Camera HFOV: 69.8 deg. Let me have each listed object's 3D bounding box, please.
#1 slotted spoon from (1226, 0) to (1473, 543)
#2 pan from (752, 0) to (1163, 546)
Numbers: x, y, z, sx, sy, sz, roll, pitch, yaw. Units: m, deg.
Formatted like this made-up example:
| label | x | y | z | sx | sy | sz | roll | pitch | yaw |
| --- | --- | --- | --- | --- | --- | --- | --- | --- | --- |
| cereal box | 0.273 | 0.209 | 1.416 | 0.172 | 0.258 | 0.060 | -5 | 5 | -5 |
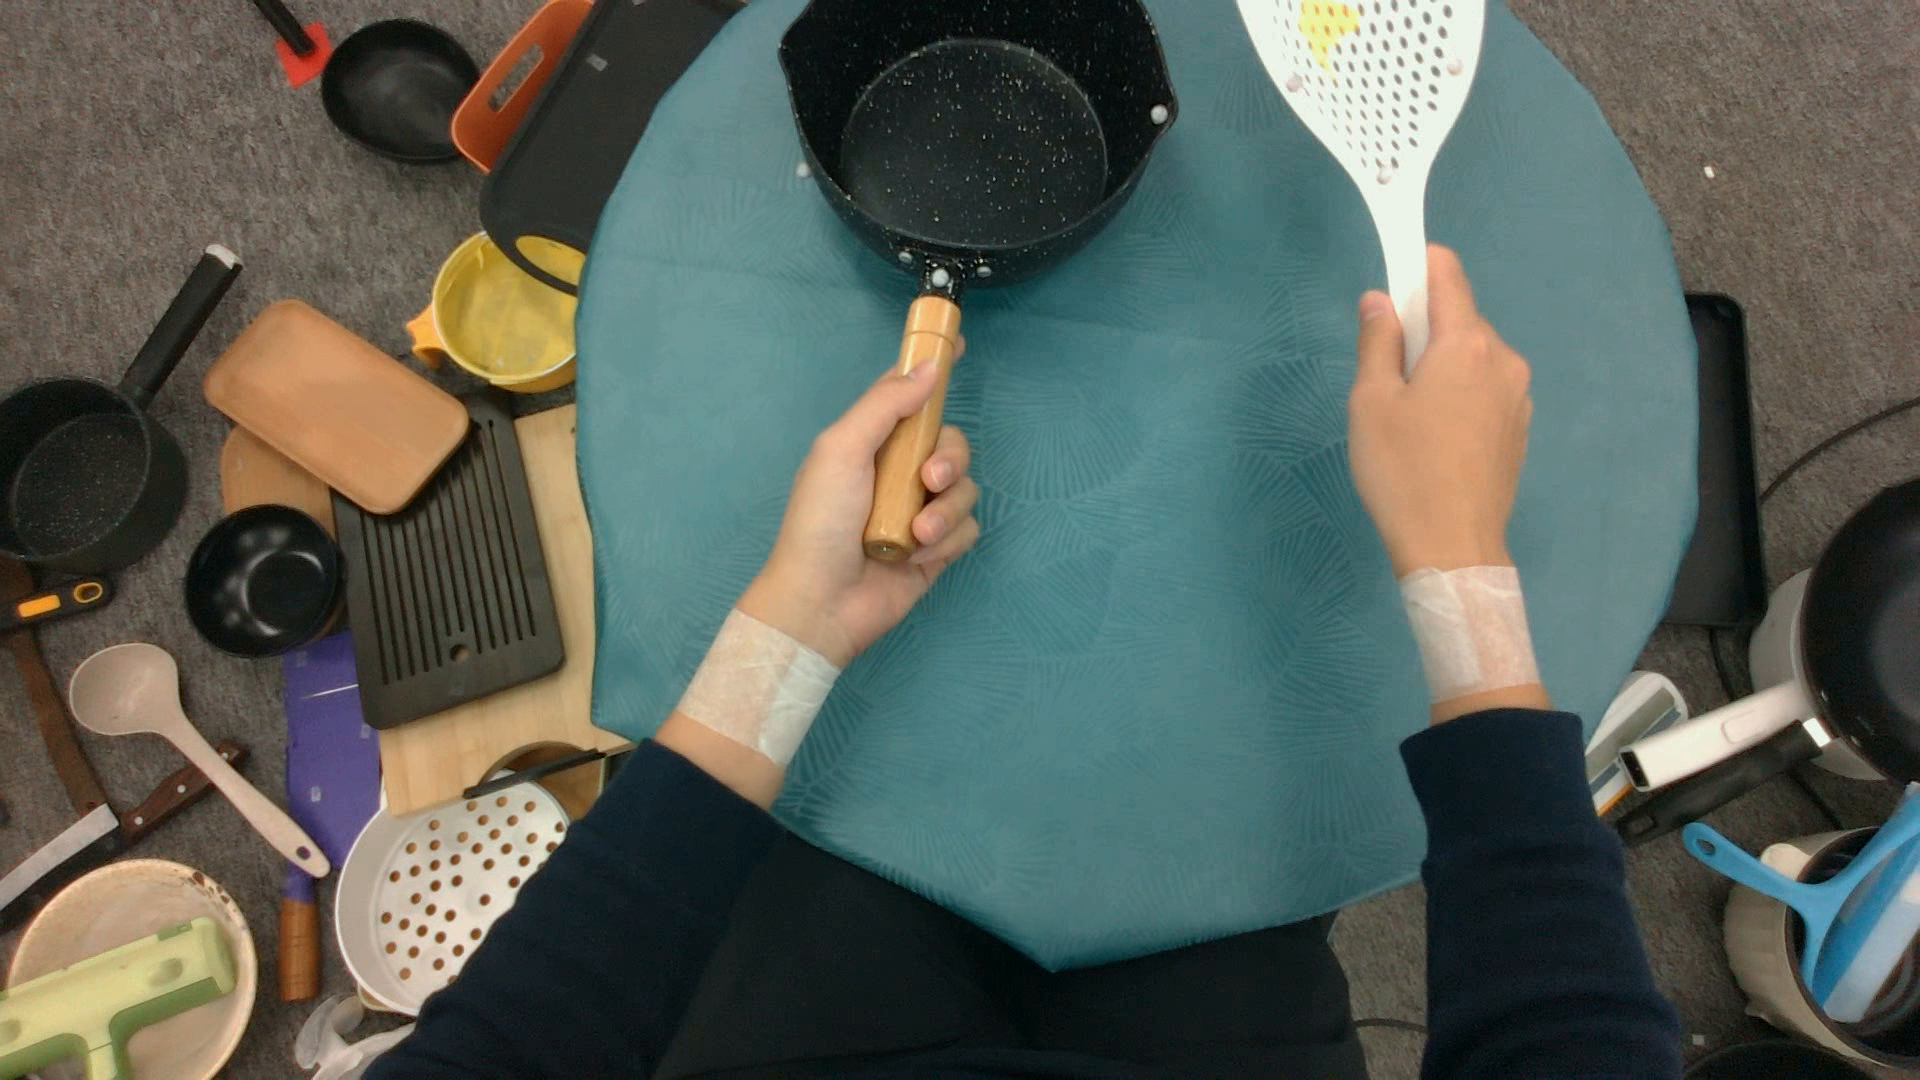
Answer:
| label | x | y | z | sx | sy | sz | roll | pitch | yaw |
| --- | --- | --- | --- | --- | --- | --- | --- | --- | --- |
| slotted spoon | 0.199 | -0.171 | 0.664 | 0.137 | 0.050 | 0.349 | -2 | 72 | -13 |
| pan | -0.012 | -0.151 | 0.689 | 0.207 | 0.108 | 0.343 | 8 | 75 | 0 |
